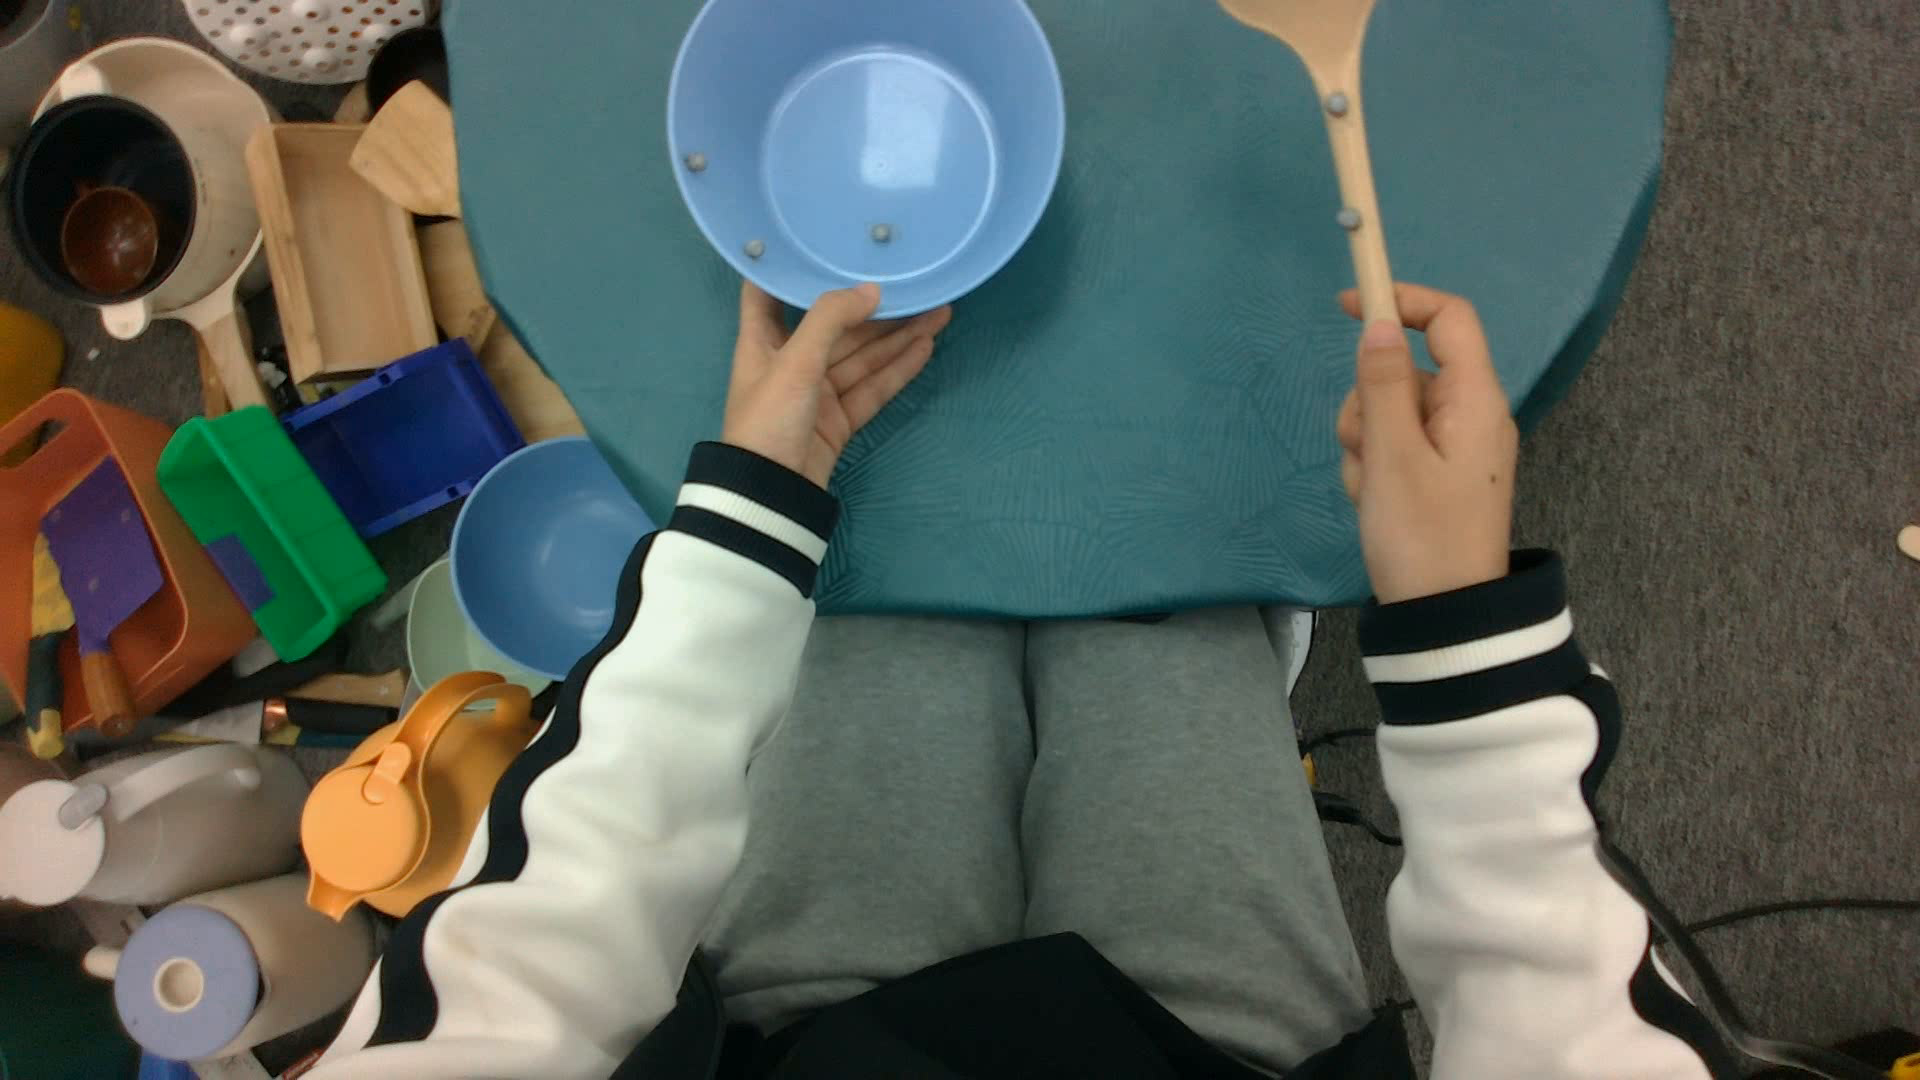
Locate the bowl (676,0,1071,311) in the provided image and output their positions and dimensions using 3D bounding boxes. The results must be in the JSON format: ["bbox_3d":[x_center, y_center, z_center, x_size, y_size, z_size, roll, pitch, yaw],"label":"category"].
[{"bbox_3d":[-0.037,-0.187,0.641,0.176,0.070,0.176,0,87,3],"label":"bowl"}]

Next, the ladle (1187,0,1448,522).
[{"bbox_3d":[0.132,-0.131,0.498,0.072,0.073,0.255,-16,80,25],"label":"ladle"}]
